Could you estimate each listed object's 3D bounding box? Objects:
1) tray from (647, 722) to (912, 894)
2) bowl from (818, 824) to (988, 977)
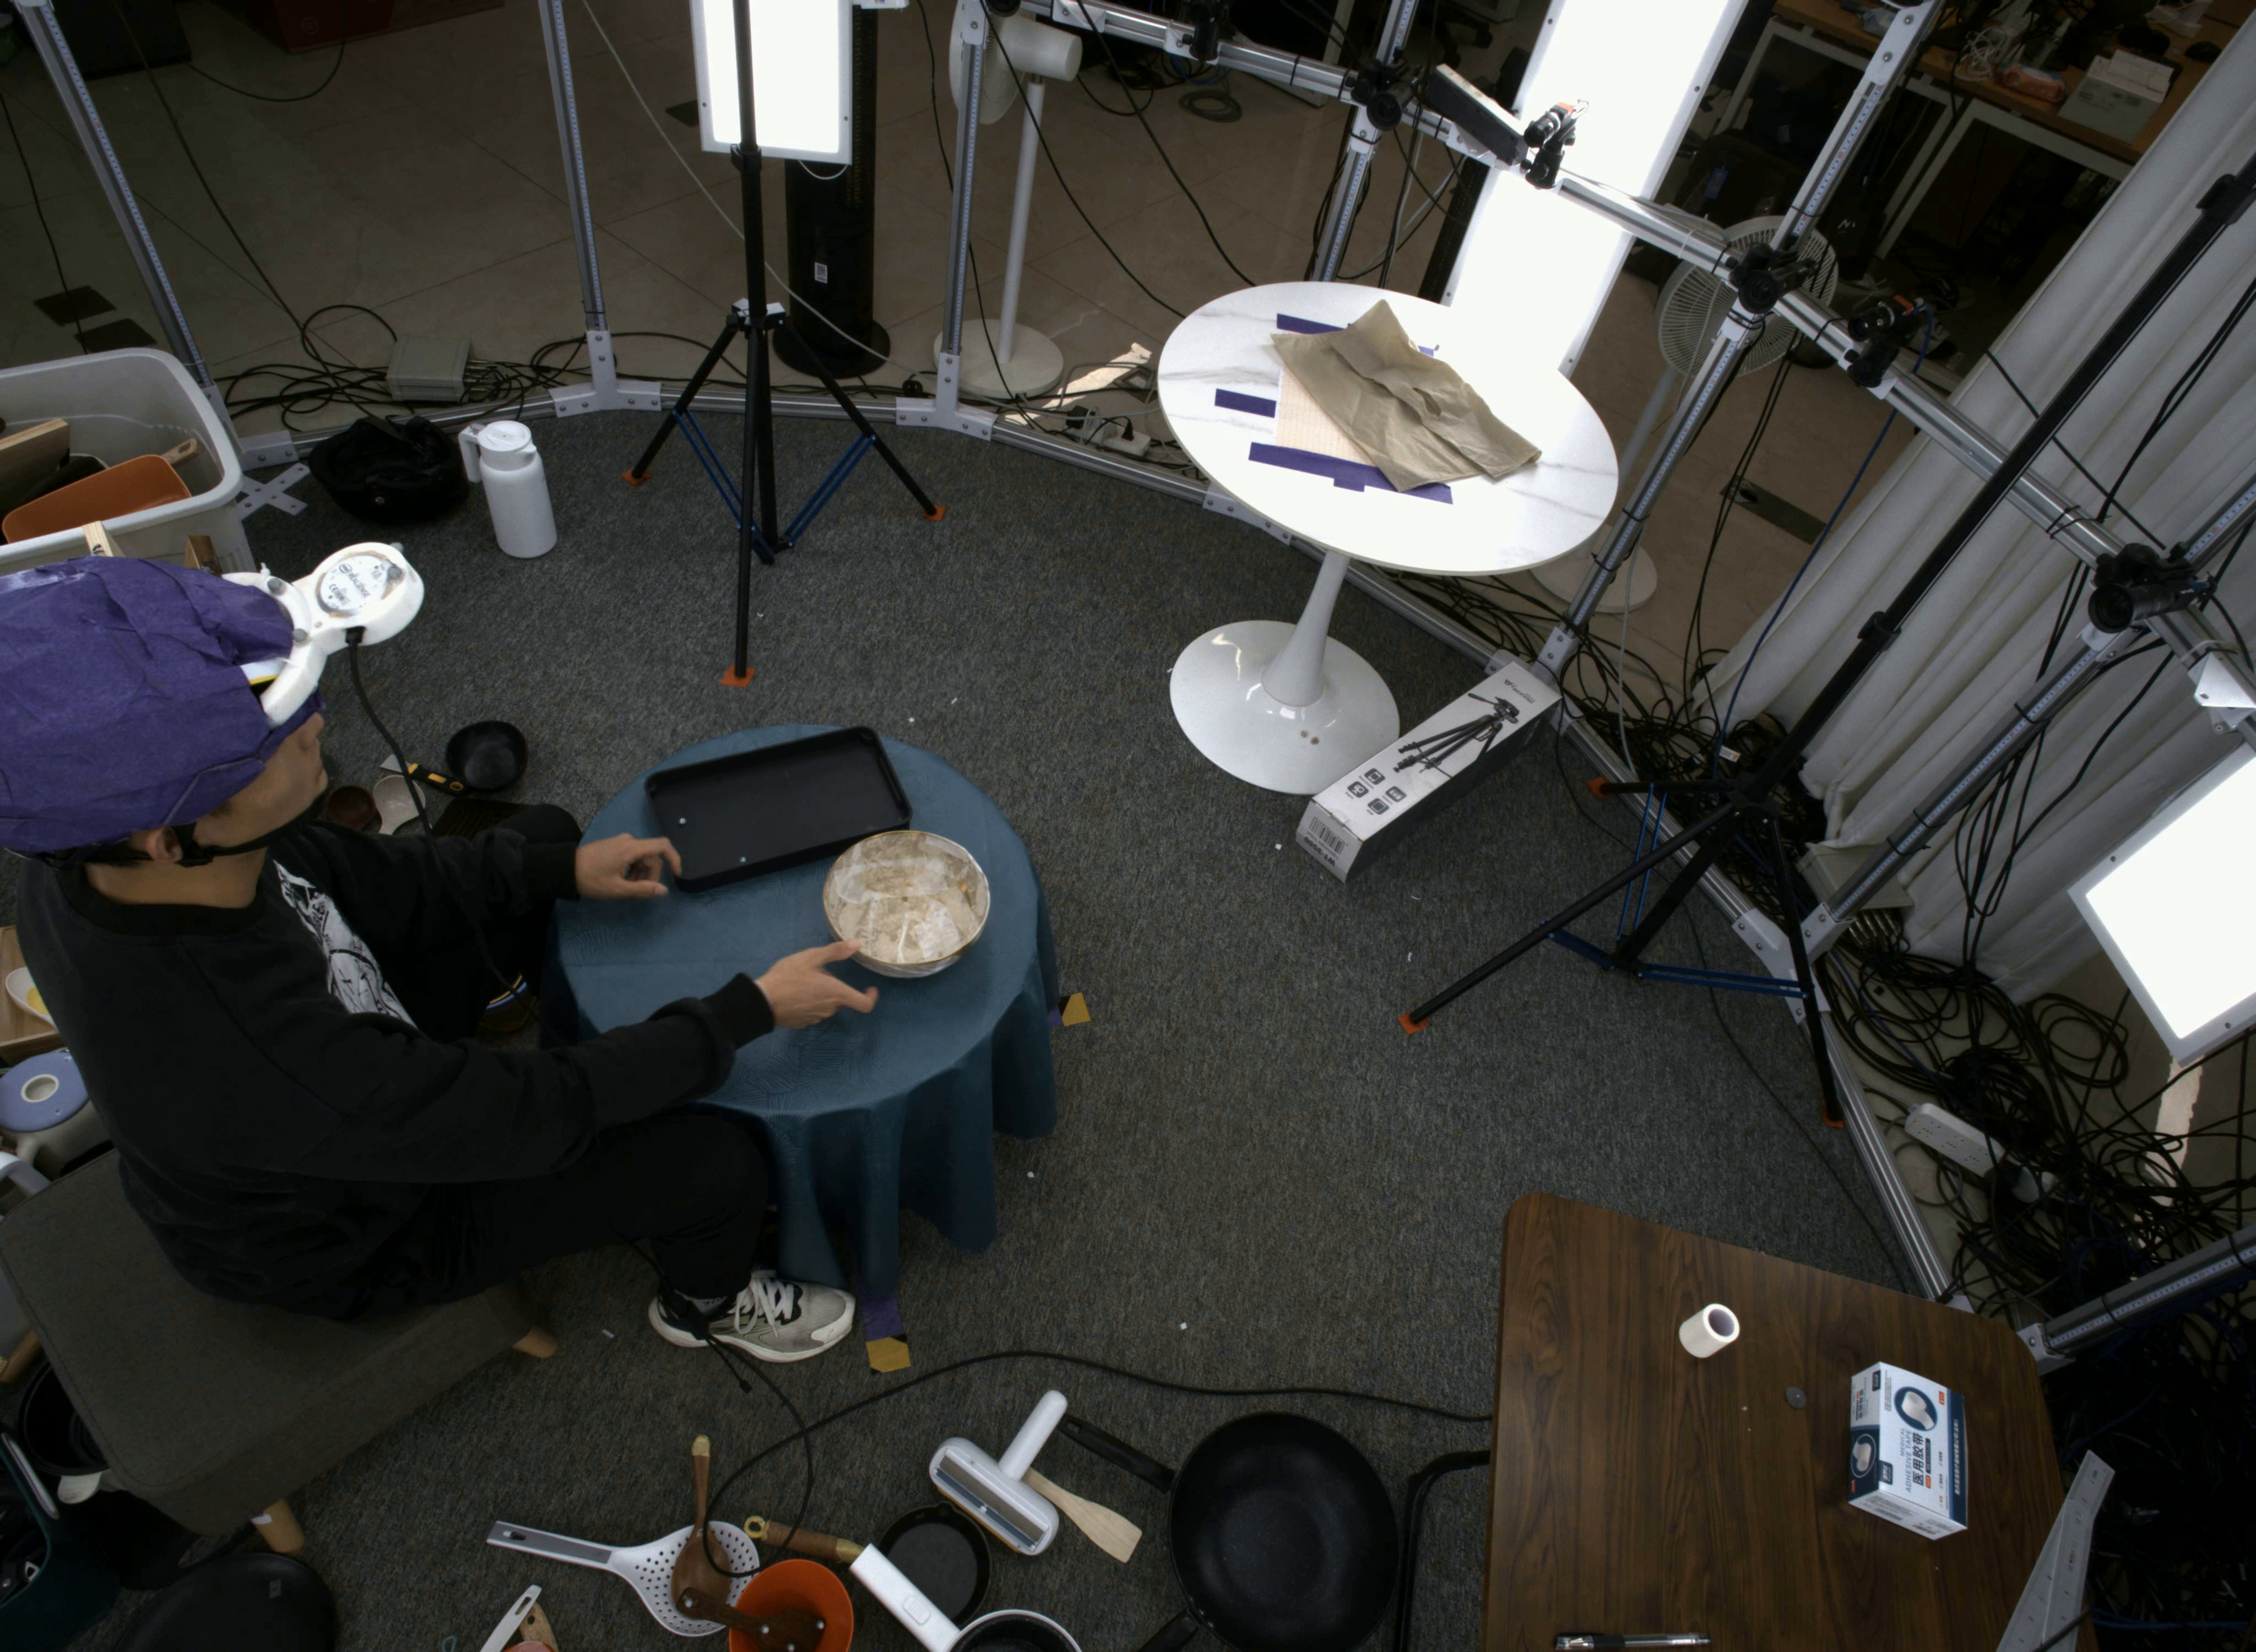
[{"bbox_3d":[-0.460,-0.029,1.716,0.319,0.038,0.180,-16,61,-23],"label":"tray"},{"bbox_3d":[-0.283,0.107,1.626,0.214,0.096,0.211,8,53,-9],"label":"bowl"}]
